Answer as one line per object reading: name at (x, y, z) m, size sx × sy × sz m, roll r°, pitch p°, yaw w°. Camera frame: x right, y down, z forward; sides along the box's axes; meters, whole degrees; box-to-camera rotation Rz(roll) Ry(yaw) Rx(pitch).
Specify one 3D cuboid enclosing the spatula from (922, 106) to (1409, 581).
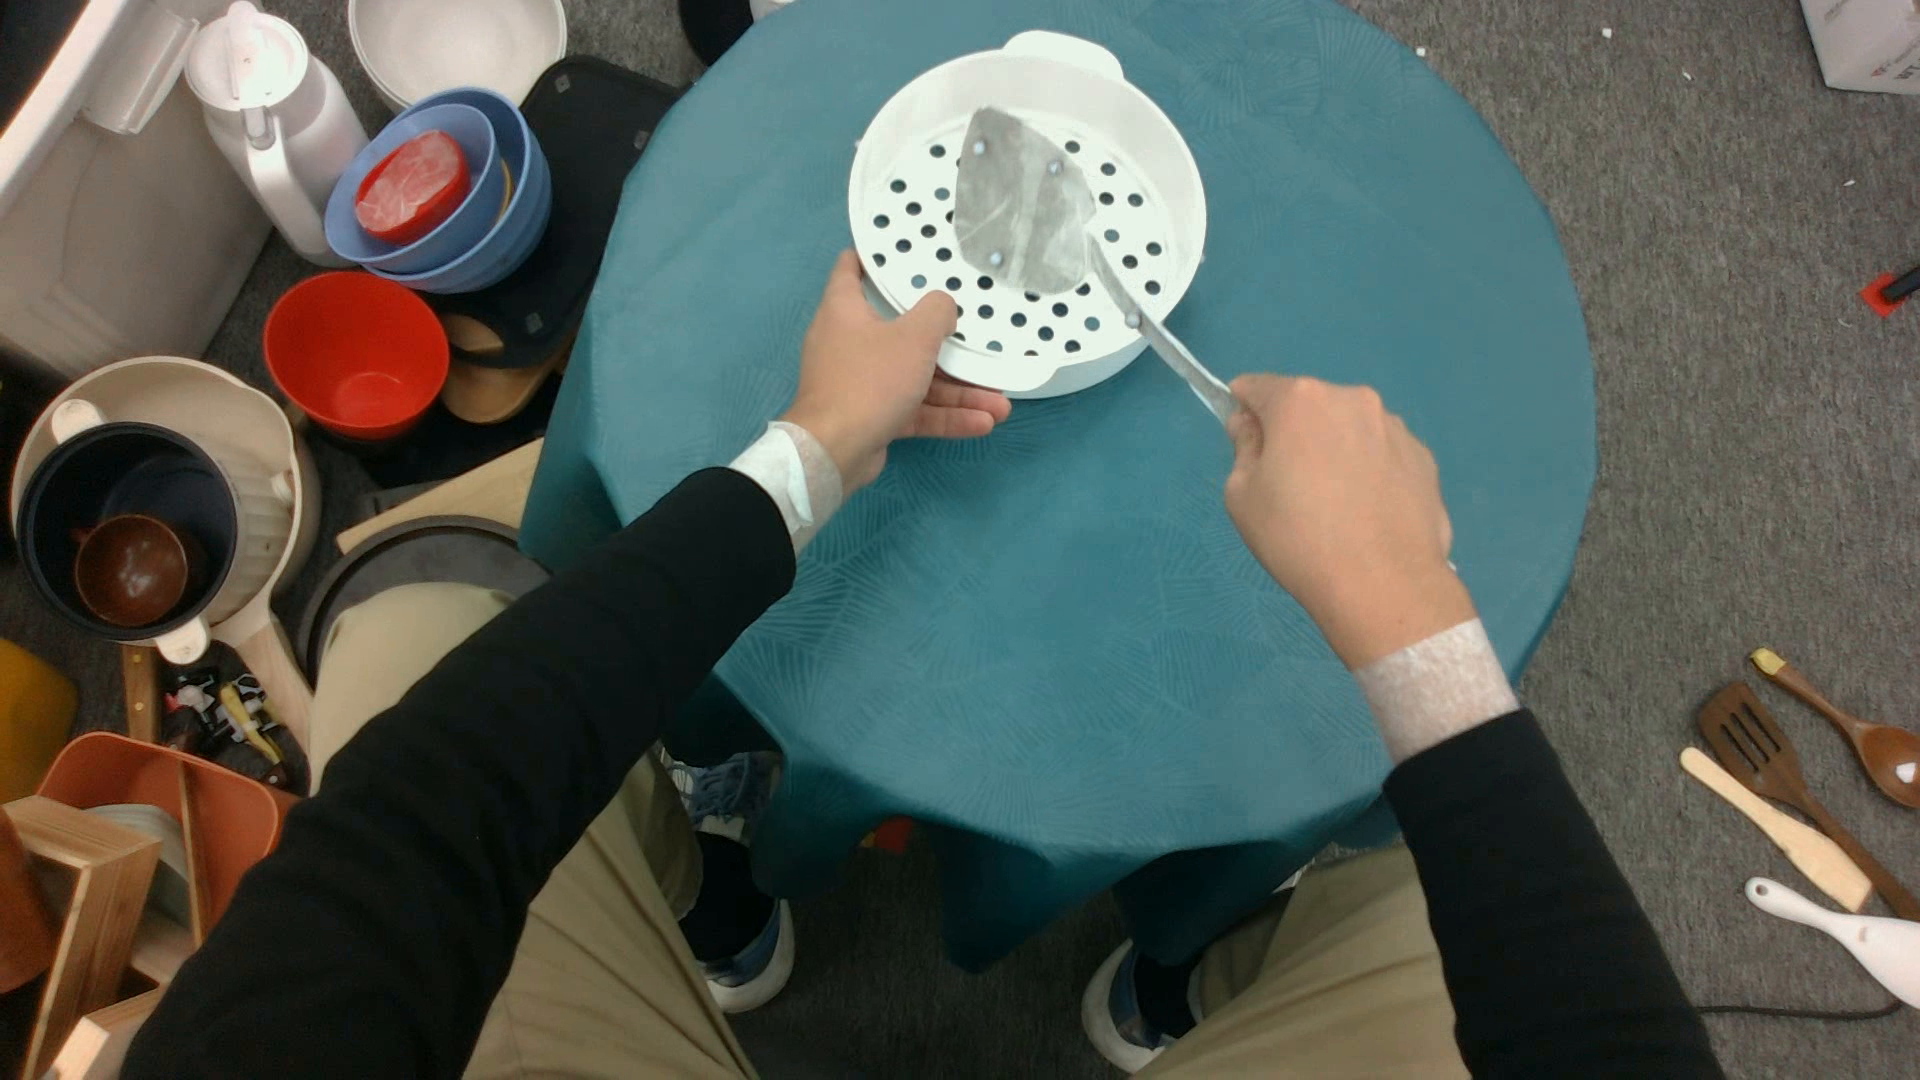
spatula at (0.090, -0.101, 0.693) m, size 0.045 × 0.098 × 0.365 m, roll -14°, pitch 47°, yaw -29°

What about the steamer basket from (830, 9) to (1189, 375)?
steamer basket at (0.027, -0.193, 0.797) m, size 0.202 × 0.069 × 0.231 m, roll 14°, pitch 72°, yaw 0°
